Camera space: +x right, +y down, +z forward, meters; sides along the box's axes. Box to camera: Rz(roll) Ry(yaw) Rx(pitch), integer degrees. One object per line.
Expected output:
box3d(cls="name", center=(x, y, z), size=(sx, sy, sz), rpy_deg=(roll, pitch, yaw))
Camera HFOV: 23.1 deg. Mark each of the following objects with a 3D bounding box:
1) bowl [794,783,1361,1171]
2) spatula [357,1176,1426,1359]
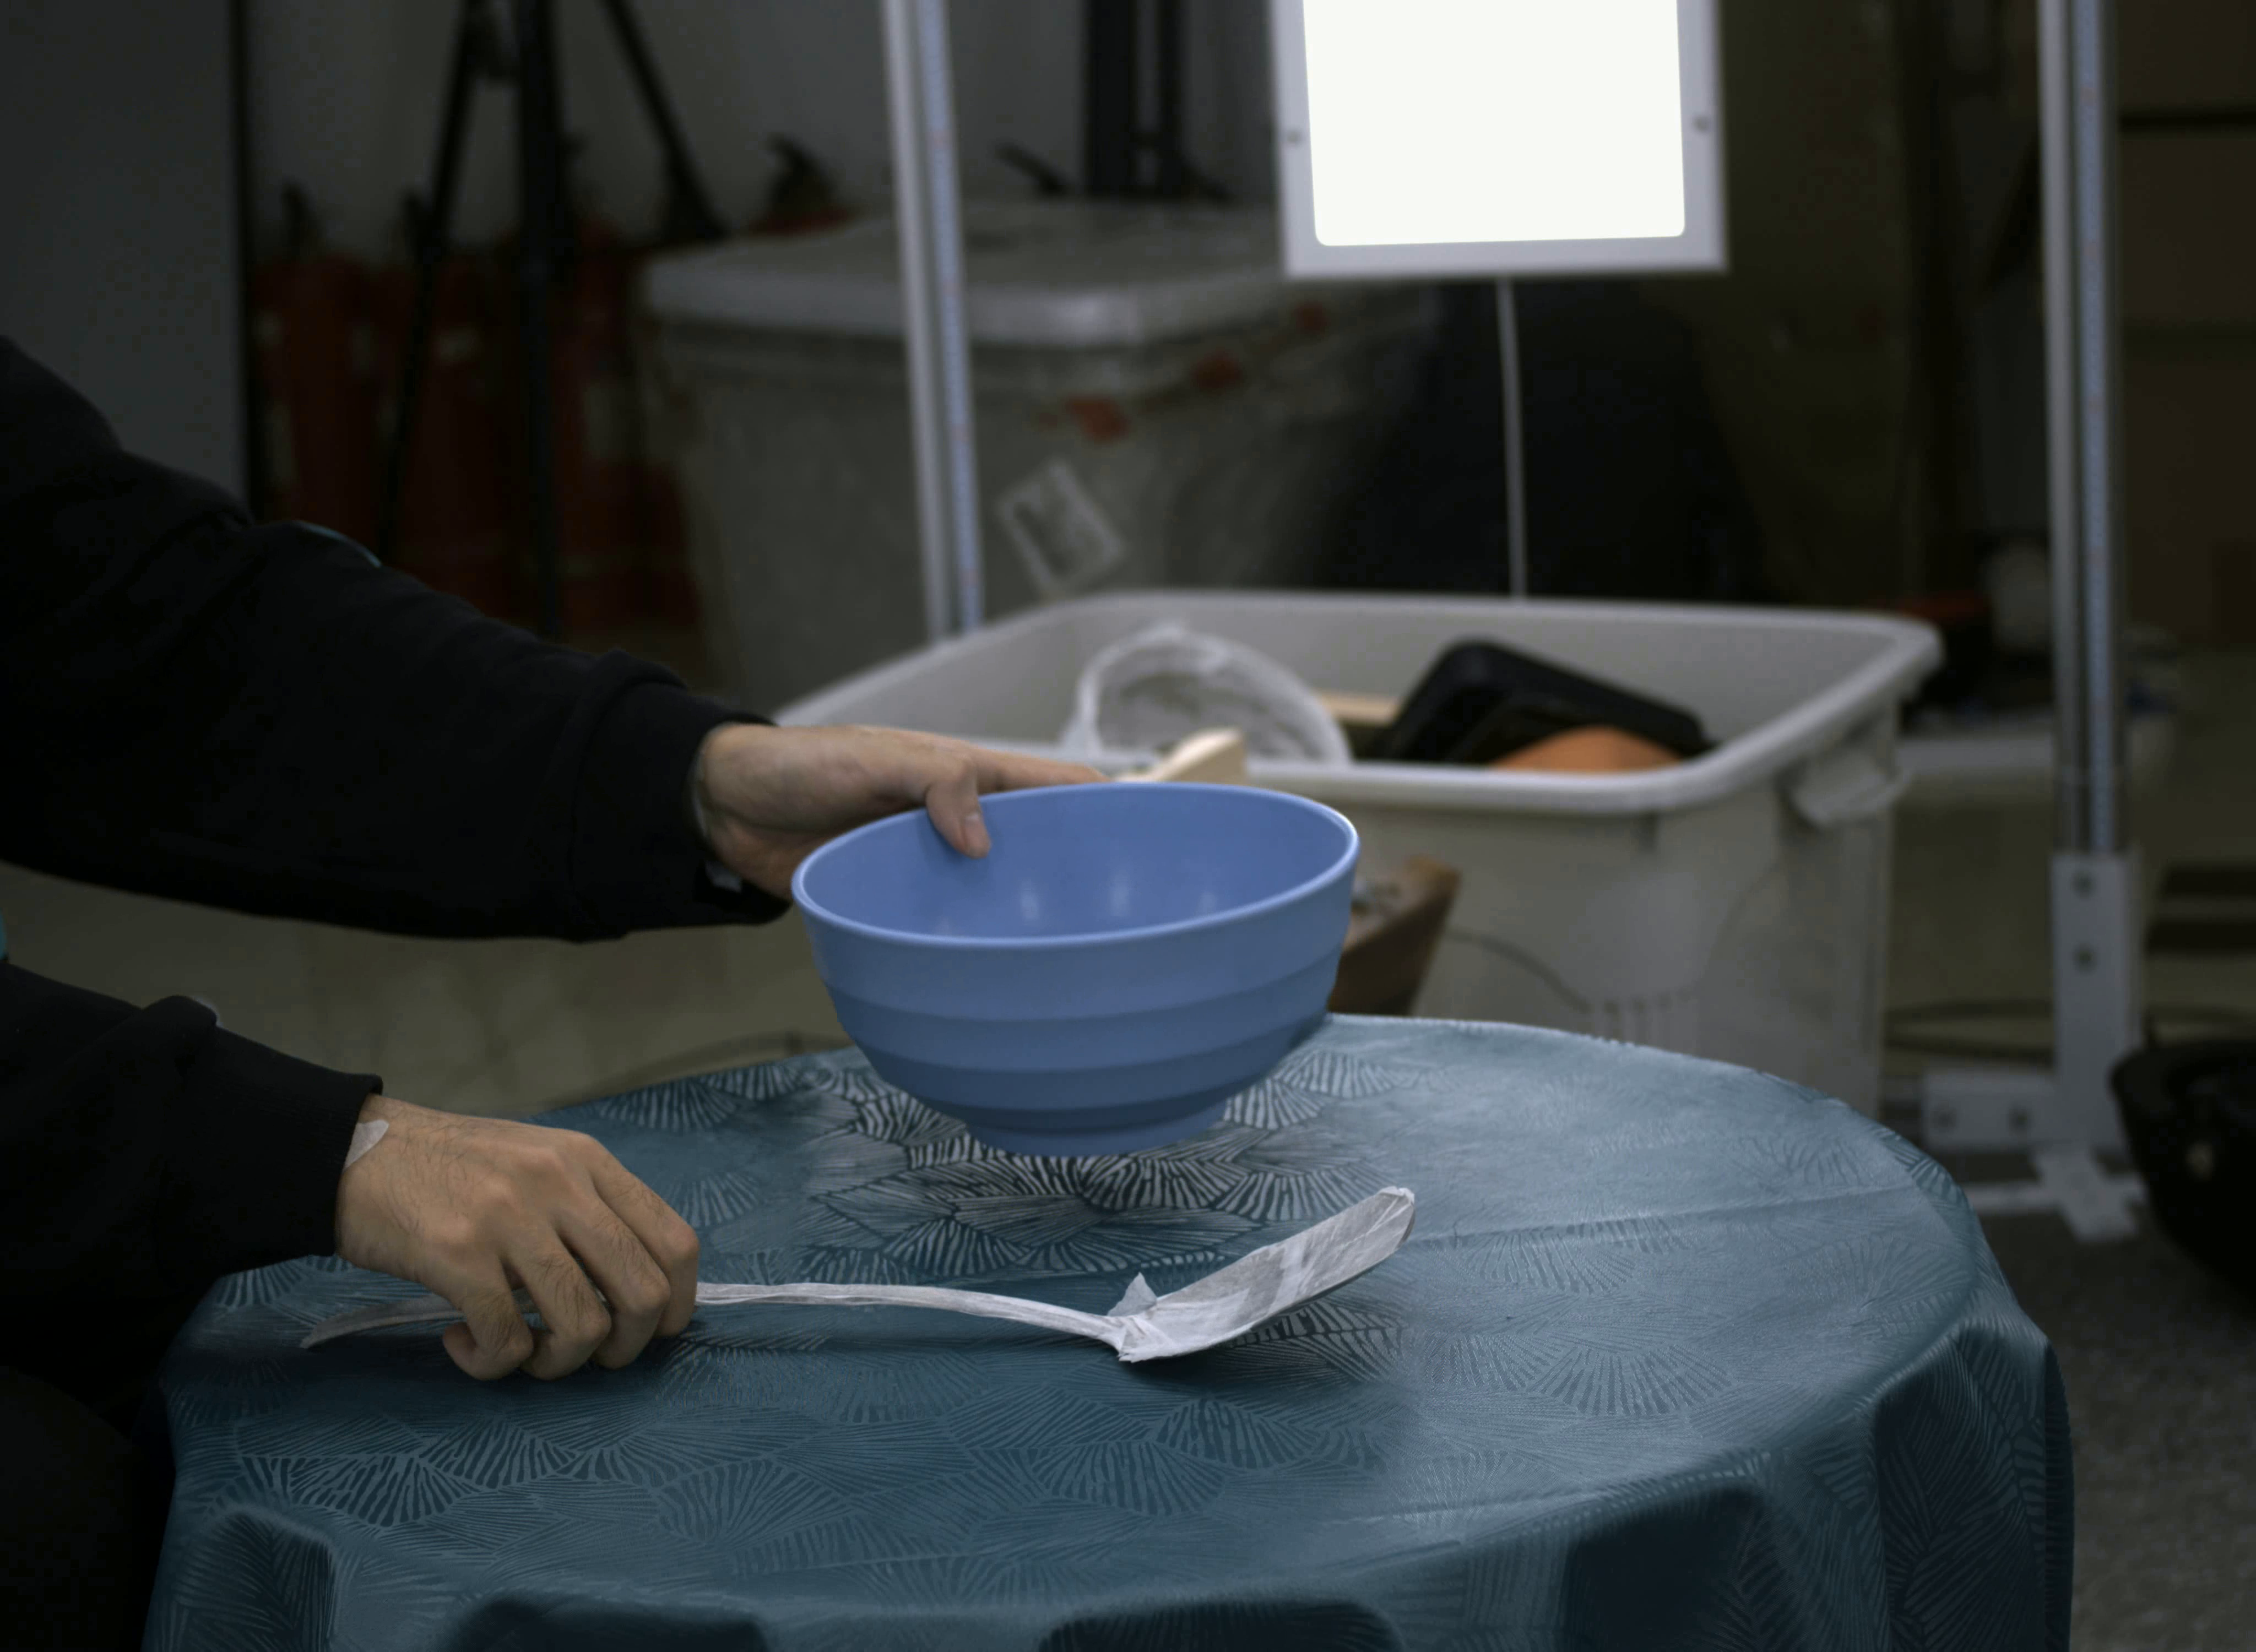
box3d(cls="bowl", center=(-0.012, 0.059, 1.898), size=(0.196, 0.096, 0.196), rpy_deg=(-7, 16, 1))
box3d(cls="spatula", center=(-0.084, 0.145, 1.769), size=(0.368, 0.045, 0.097), rpy_deg=(-1, 16, 16))
